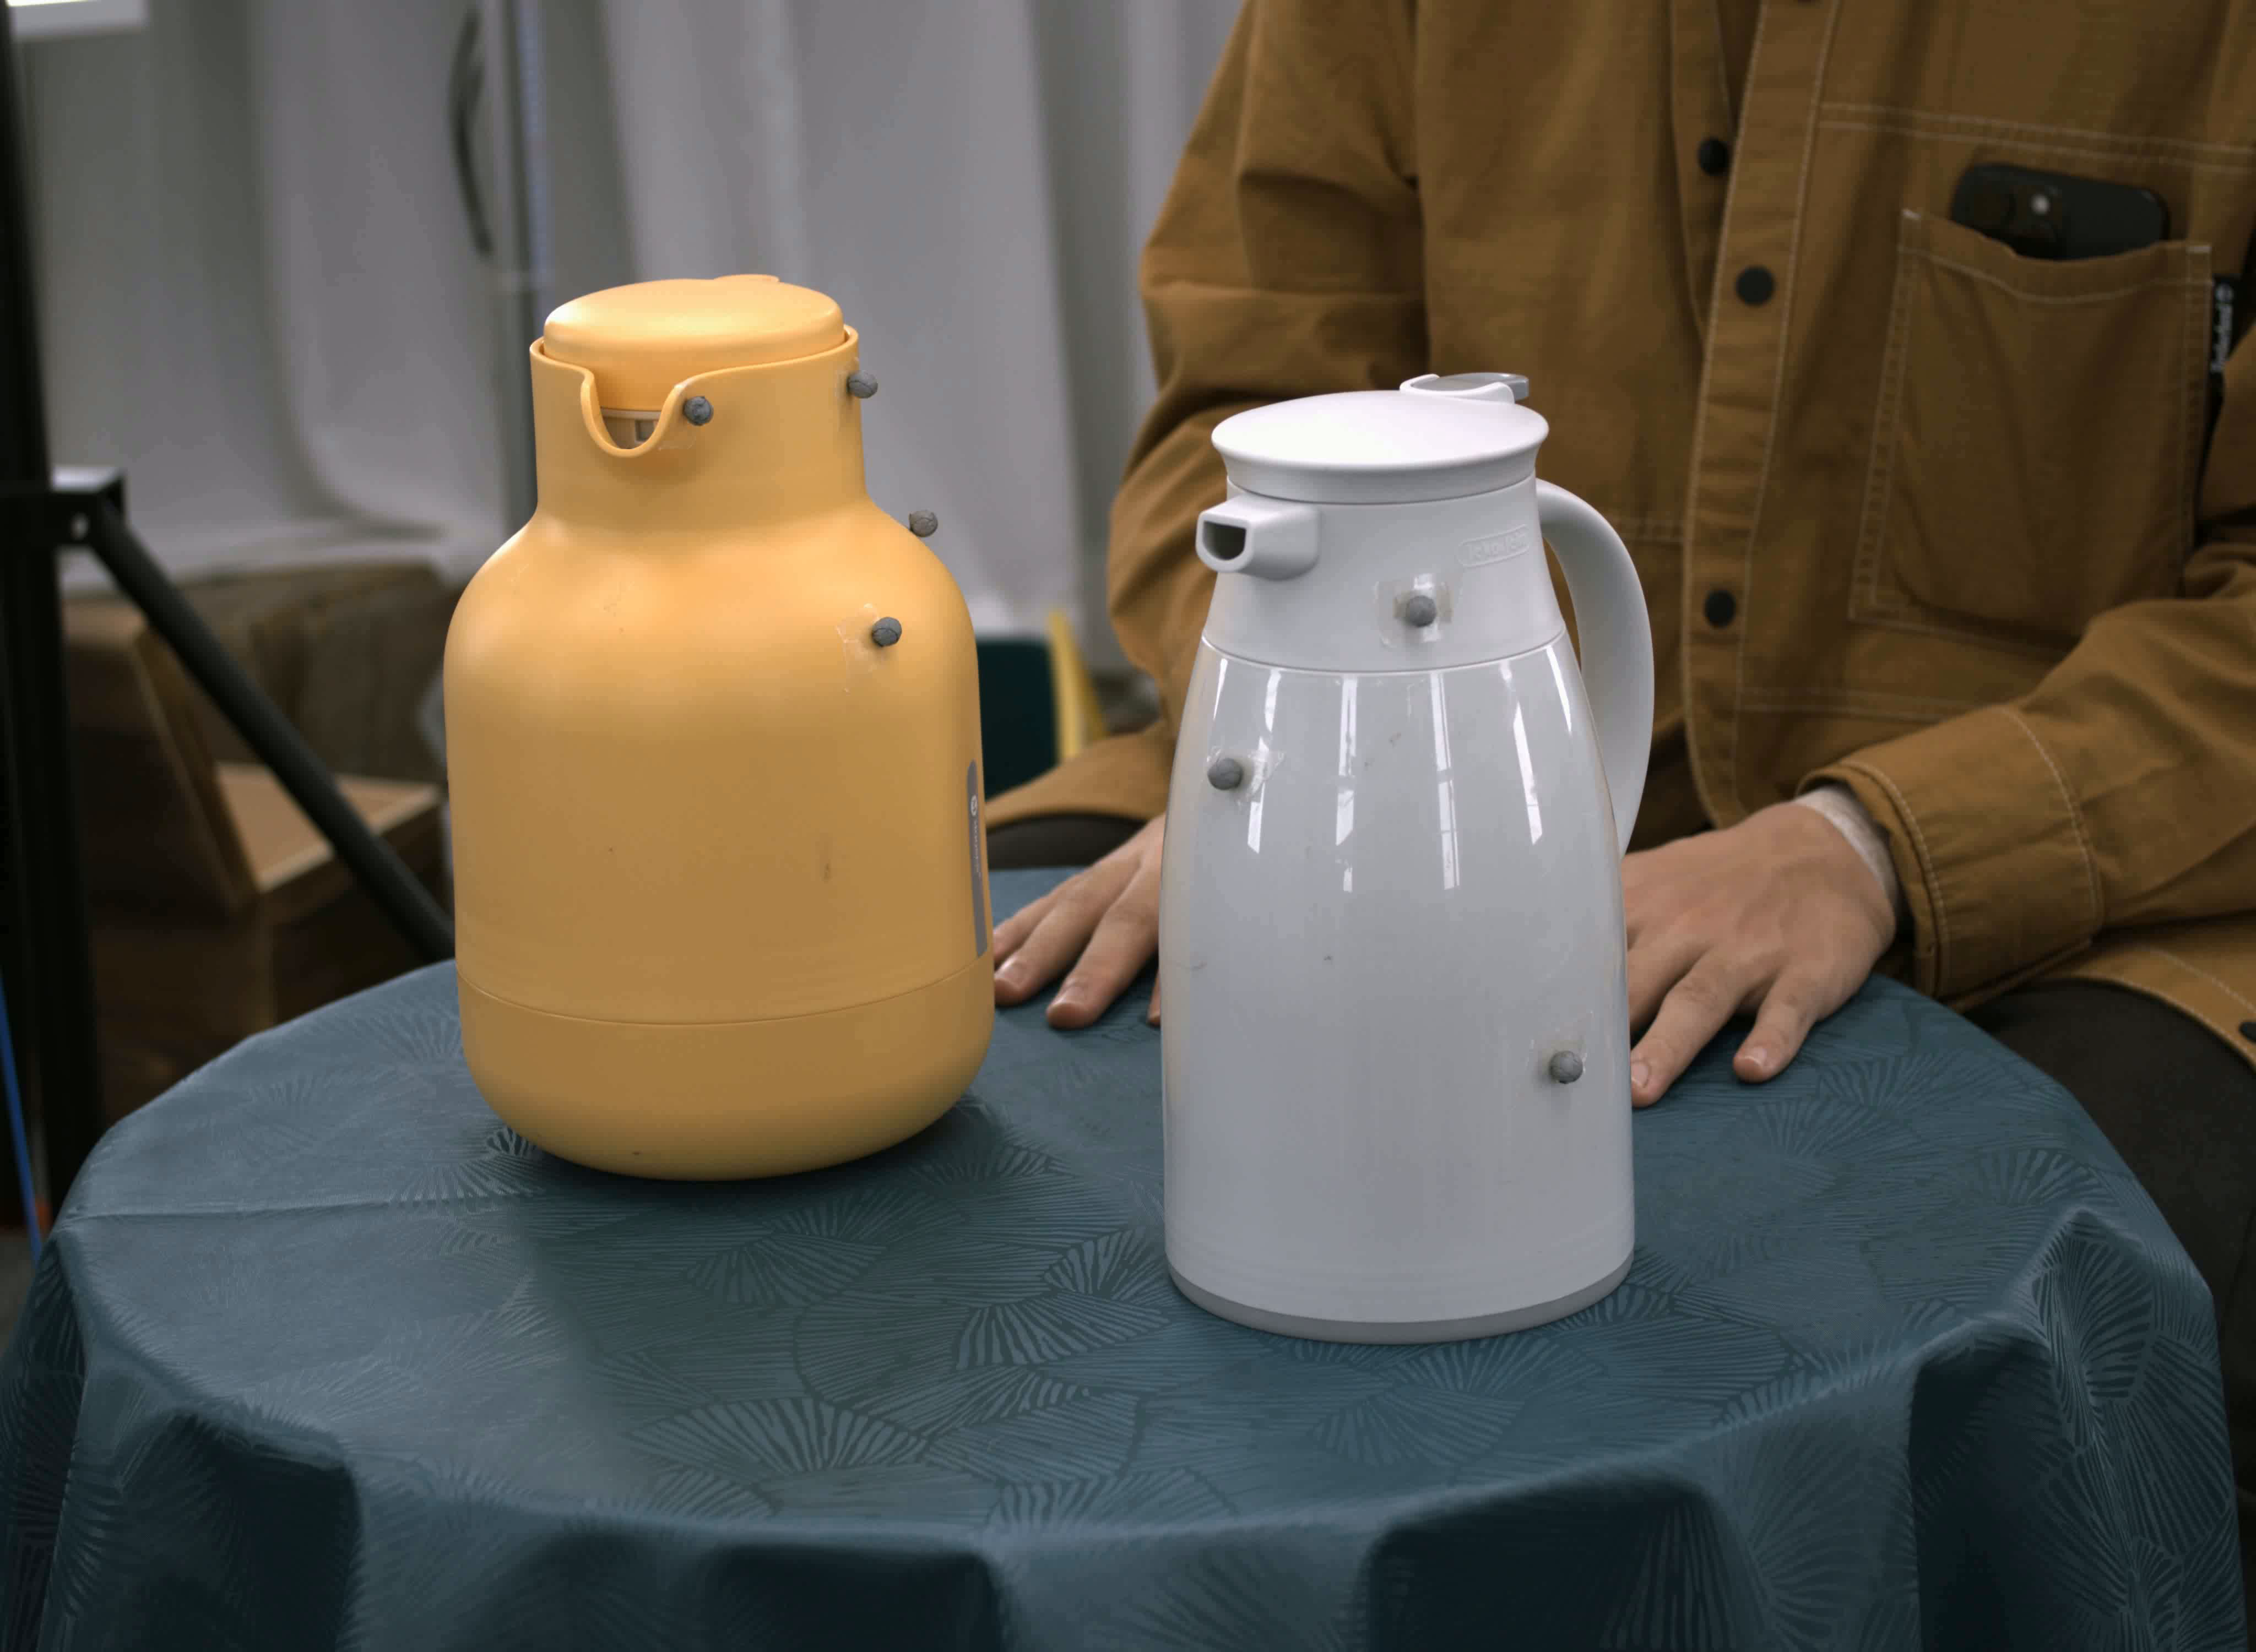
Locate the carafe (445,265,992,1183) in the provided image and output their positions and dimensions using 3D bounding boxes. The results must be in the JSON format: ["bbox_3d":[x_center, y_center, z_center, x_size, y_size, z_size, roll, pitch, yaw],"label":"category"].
[{"bbox_3d":[-0.118,-0.039,1.618,0.164,0.260,0.201,4,17,14],"label":"carafe"}]

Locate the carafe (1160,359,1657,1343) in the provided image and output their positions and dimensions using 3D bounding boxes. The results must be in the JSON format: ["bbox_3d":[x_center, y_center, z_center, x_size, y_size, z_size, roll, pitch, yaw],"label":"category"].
[{"bbox_3d":[0.085,-0.001,1.470,0.164,0.248,0.135,-16,21,-42],"label":"carafe"}]
